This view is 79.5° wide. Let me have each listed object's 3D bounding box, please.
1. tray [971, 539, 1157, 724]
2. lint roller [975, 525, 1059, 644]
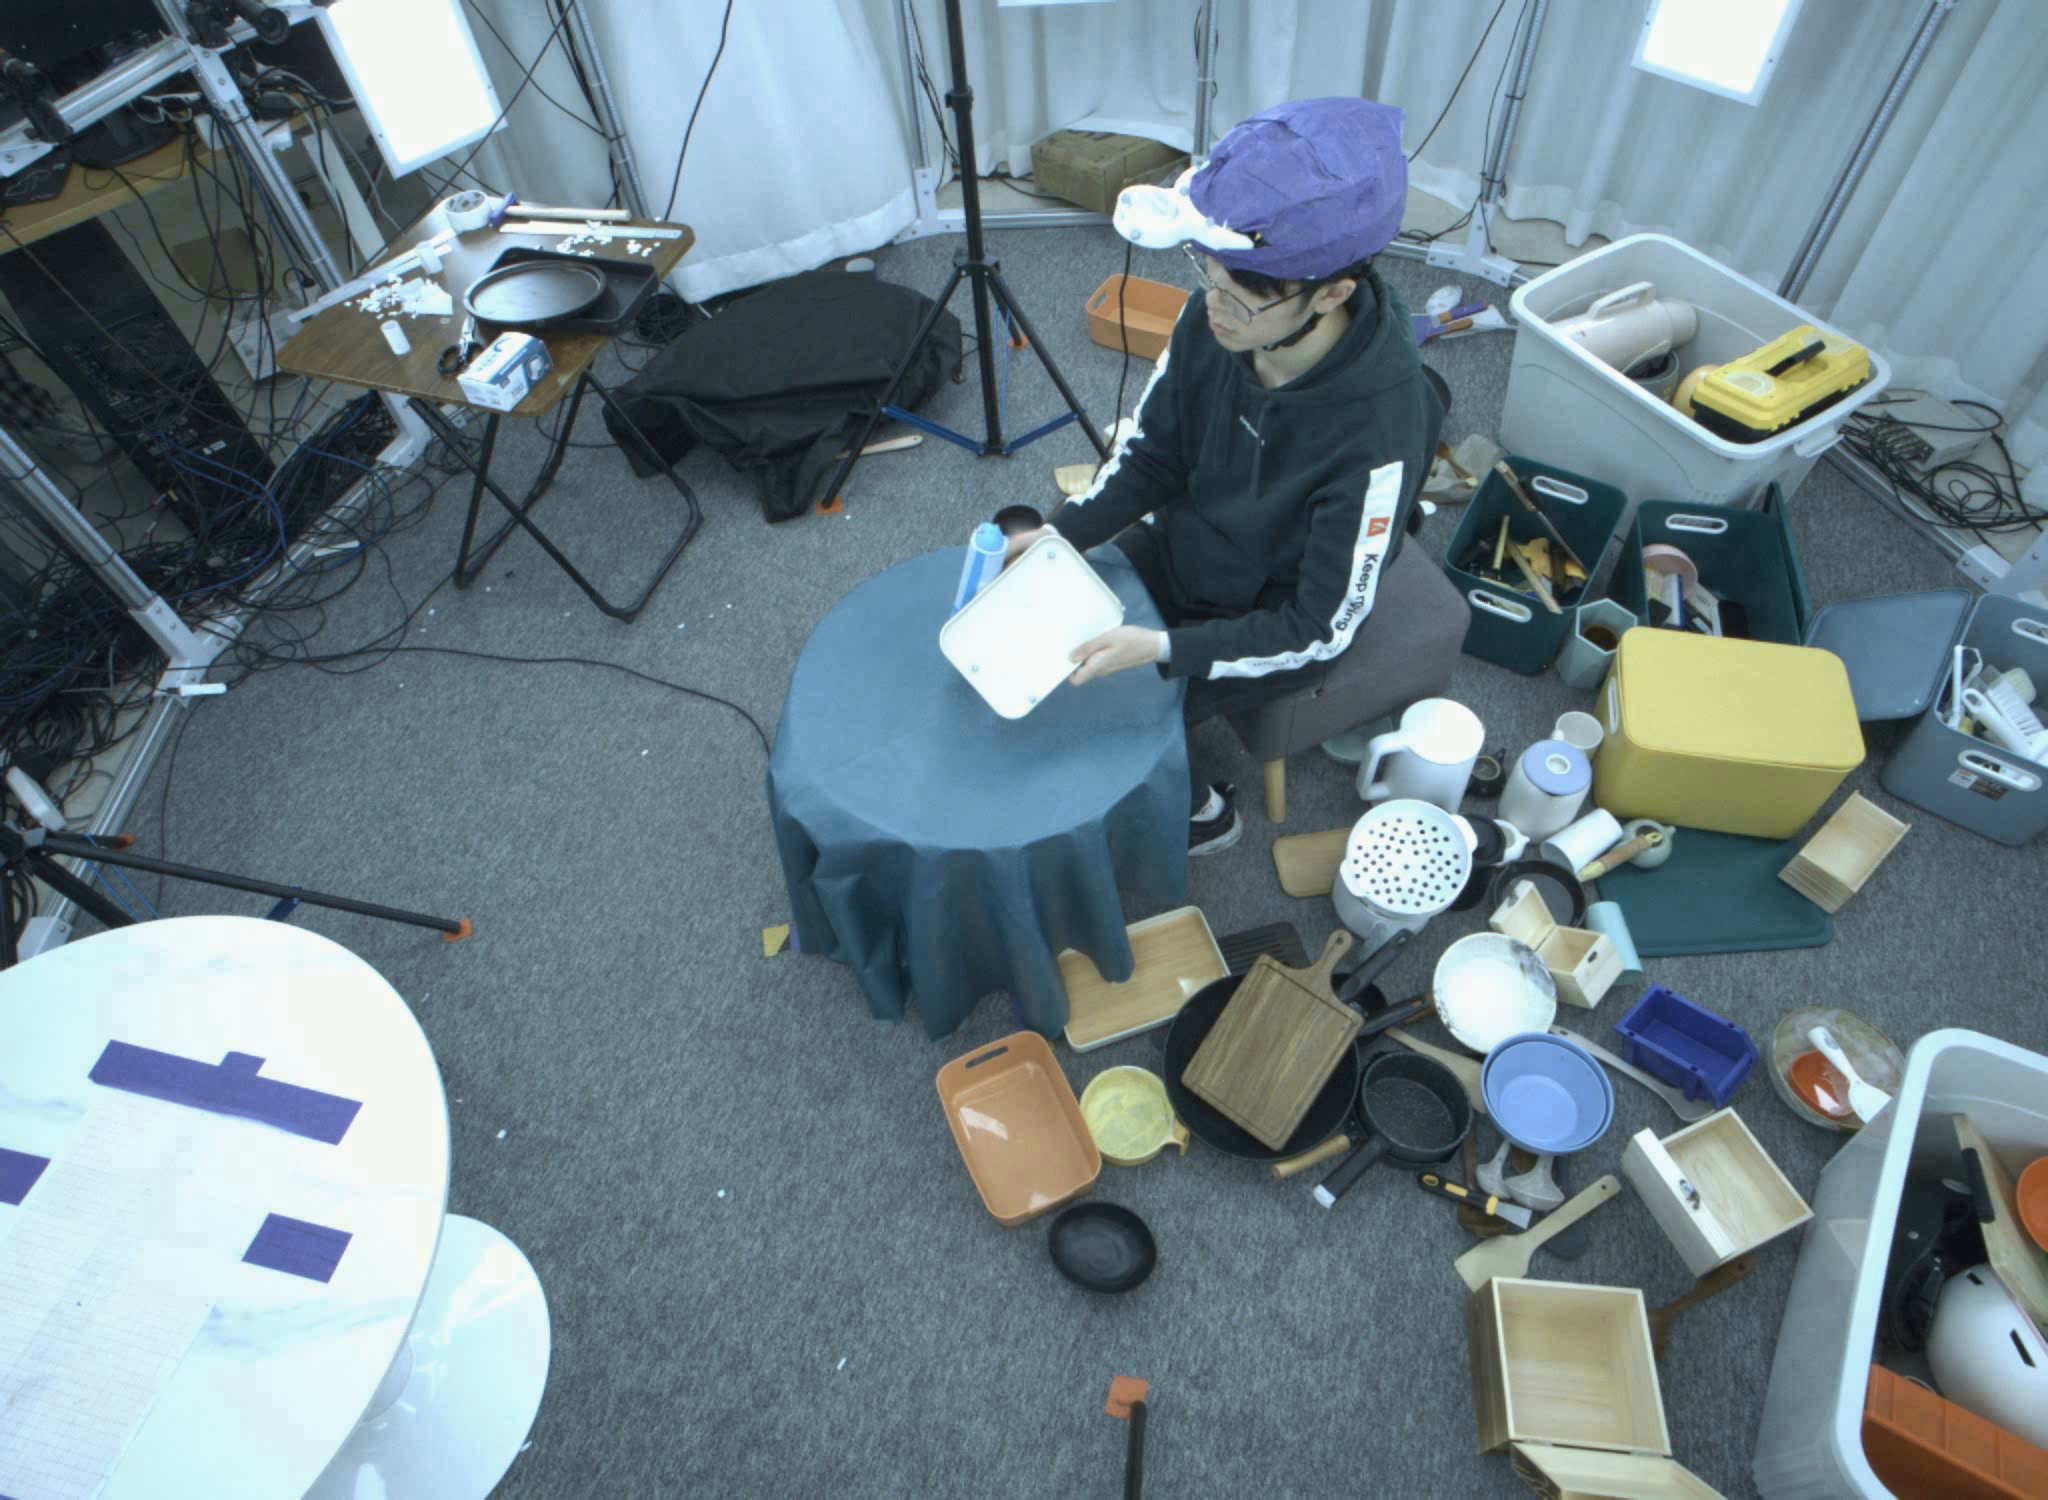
[{"bbox_3d":[0.056,-0.165,1.719,0.240,0.017,0.172,-42,100,-7],"label":"tray"},{"bbox_3d":[0.010,-0.245,1.788,0.067,0.229,0.182,37,46,17],"label":"lint roller"}]
